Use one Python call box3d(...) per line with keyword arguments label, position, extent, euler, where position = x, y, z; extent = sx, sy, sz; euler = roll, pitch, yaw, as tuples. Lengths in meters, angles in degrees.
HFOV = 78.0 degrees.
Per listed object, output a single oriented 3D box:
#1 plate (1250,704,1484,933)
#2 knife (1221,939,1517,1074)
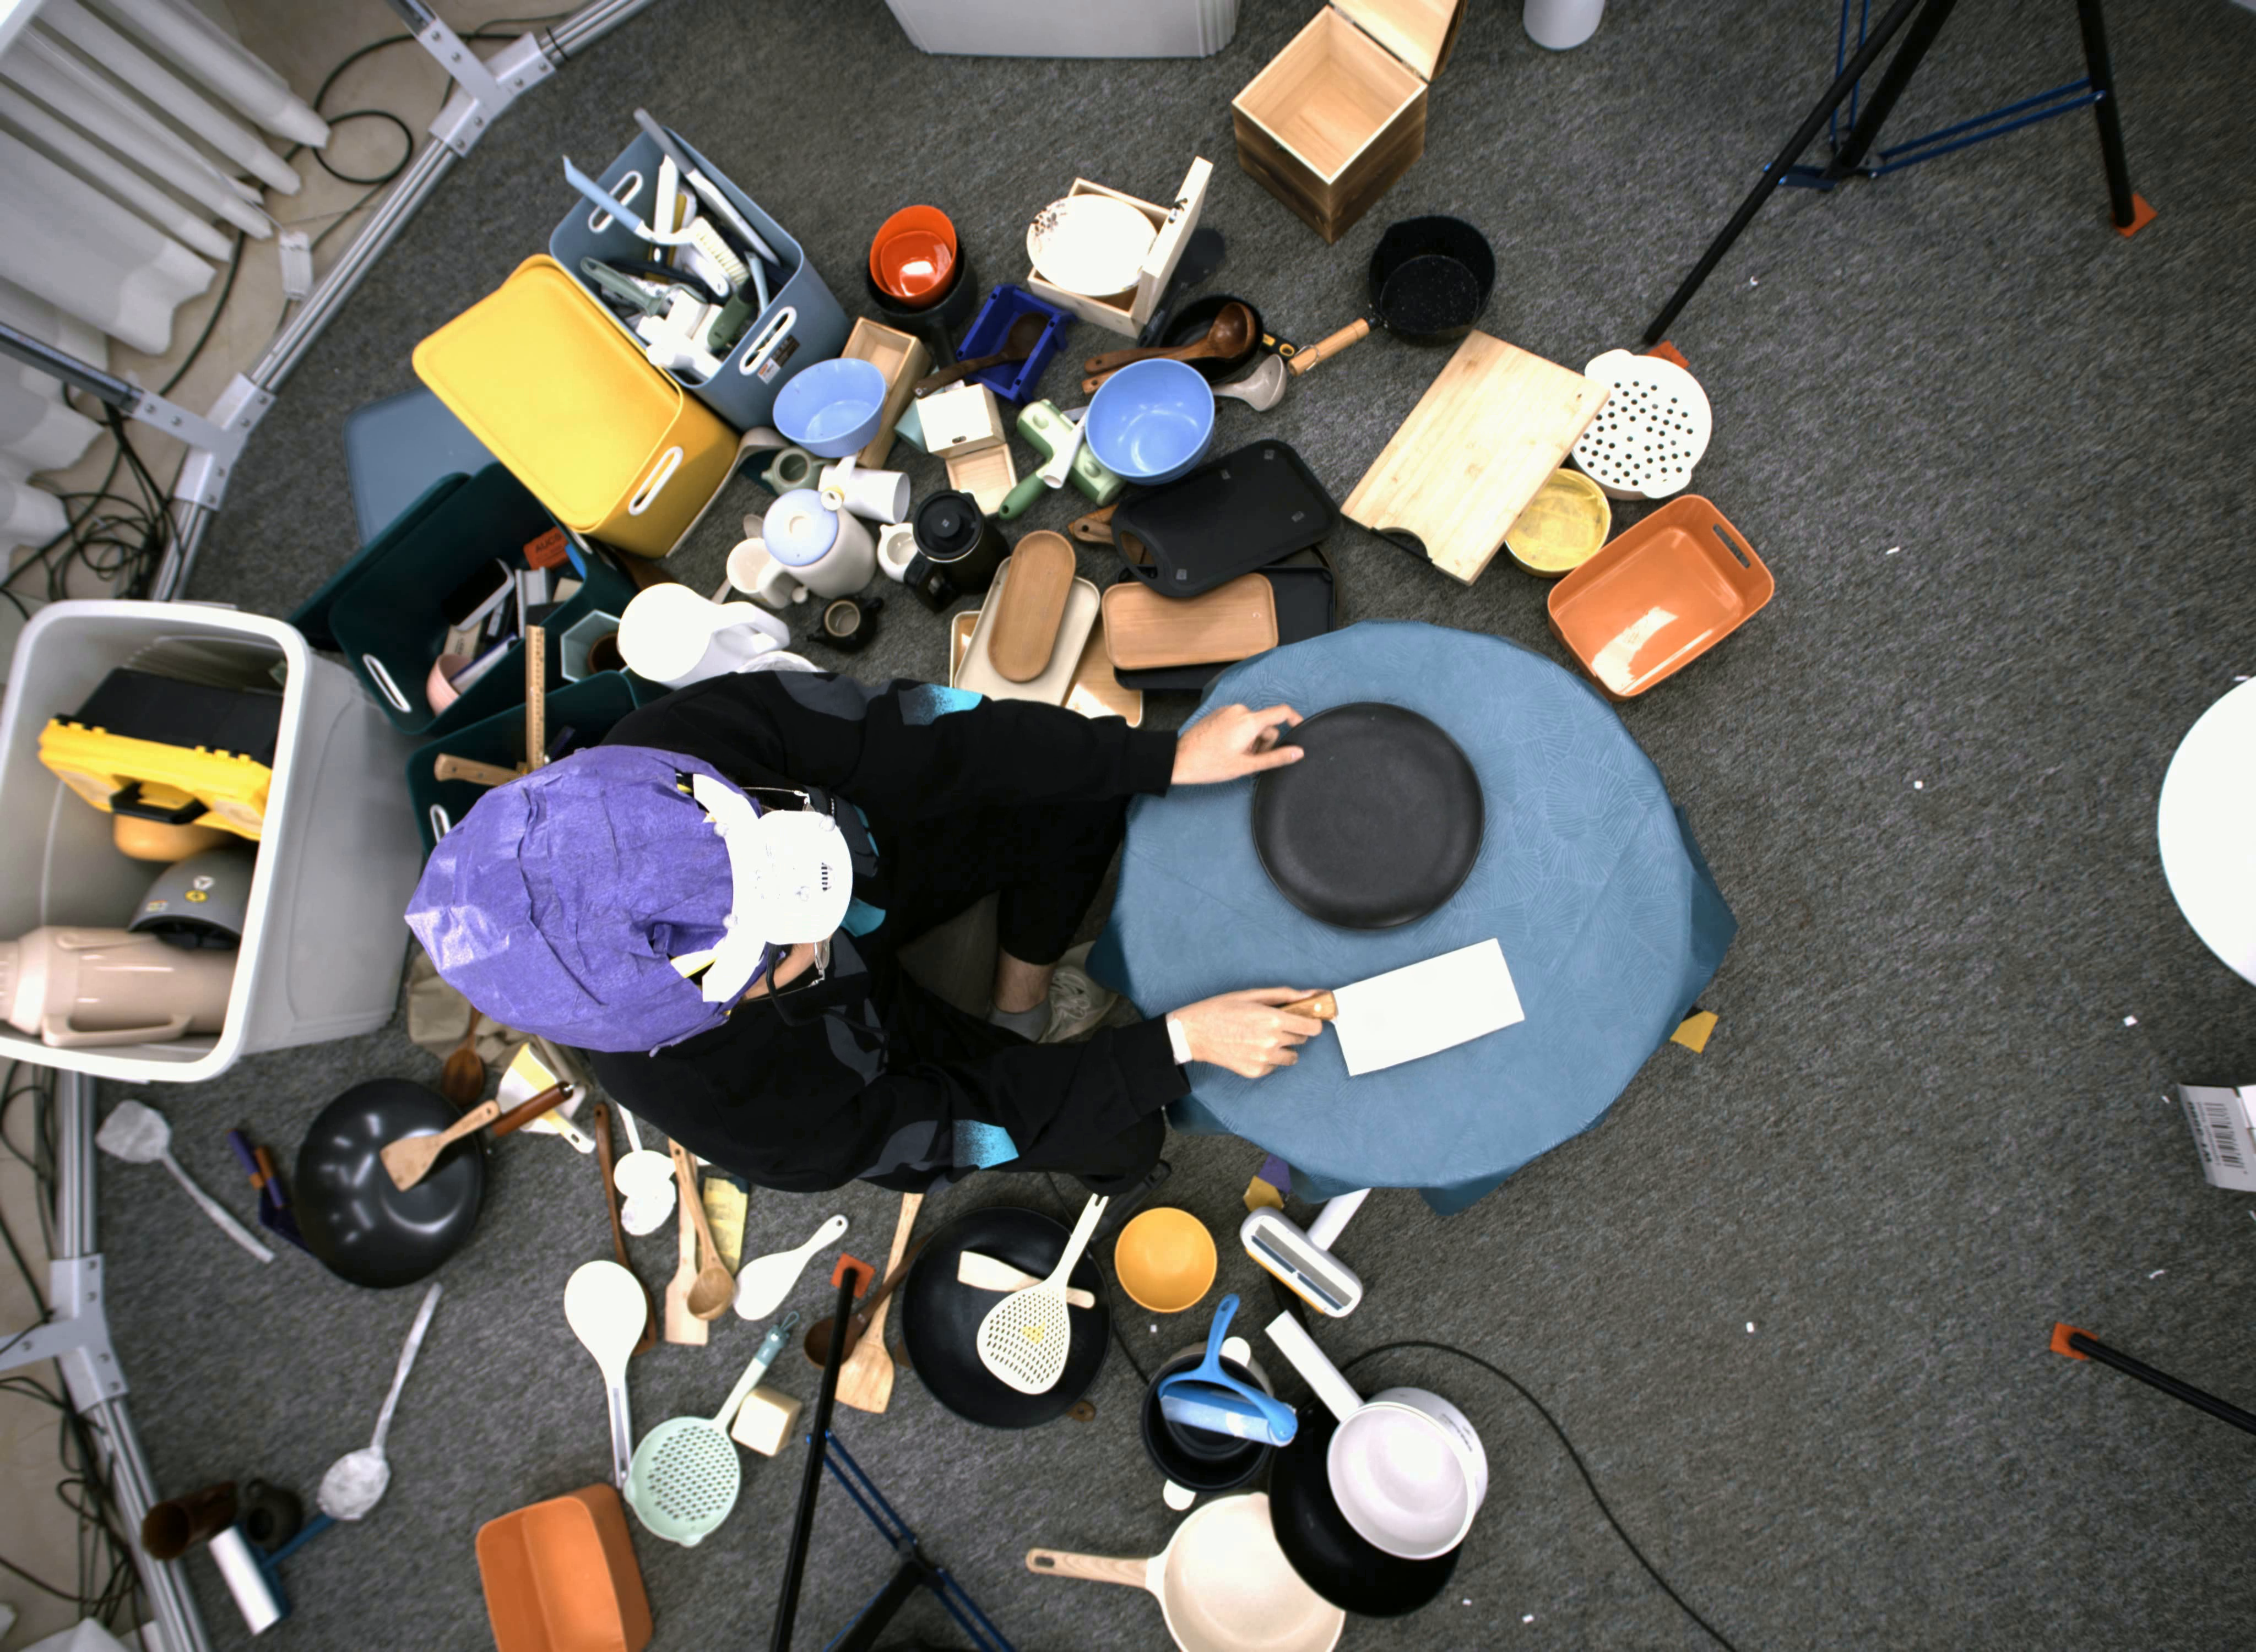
box3d(label="plate", position=(0.251, -0.009, 1.454), extent=(0.245, 0.023, 0.243), euler=(-1, 87, 10))
box3d(label="knife", position=(0.253, 0.203, 1.439), extent=(0.306, 0.021, 0.092), euler=(-18, 84, 3))
